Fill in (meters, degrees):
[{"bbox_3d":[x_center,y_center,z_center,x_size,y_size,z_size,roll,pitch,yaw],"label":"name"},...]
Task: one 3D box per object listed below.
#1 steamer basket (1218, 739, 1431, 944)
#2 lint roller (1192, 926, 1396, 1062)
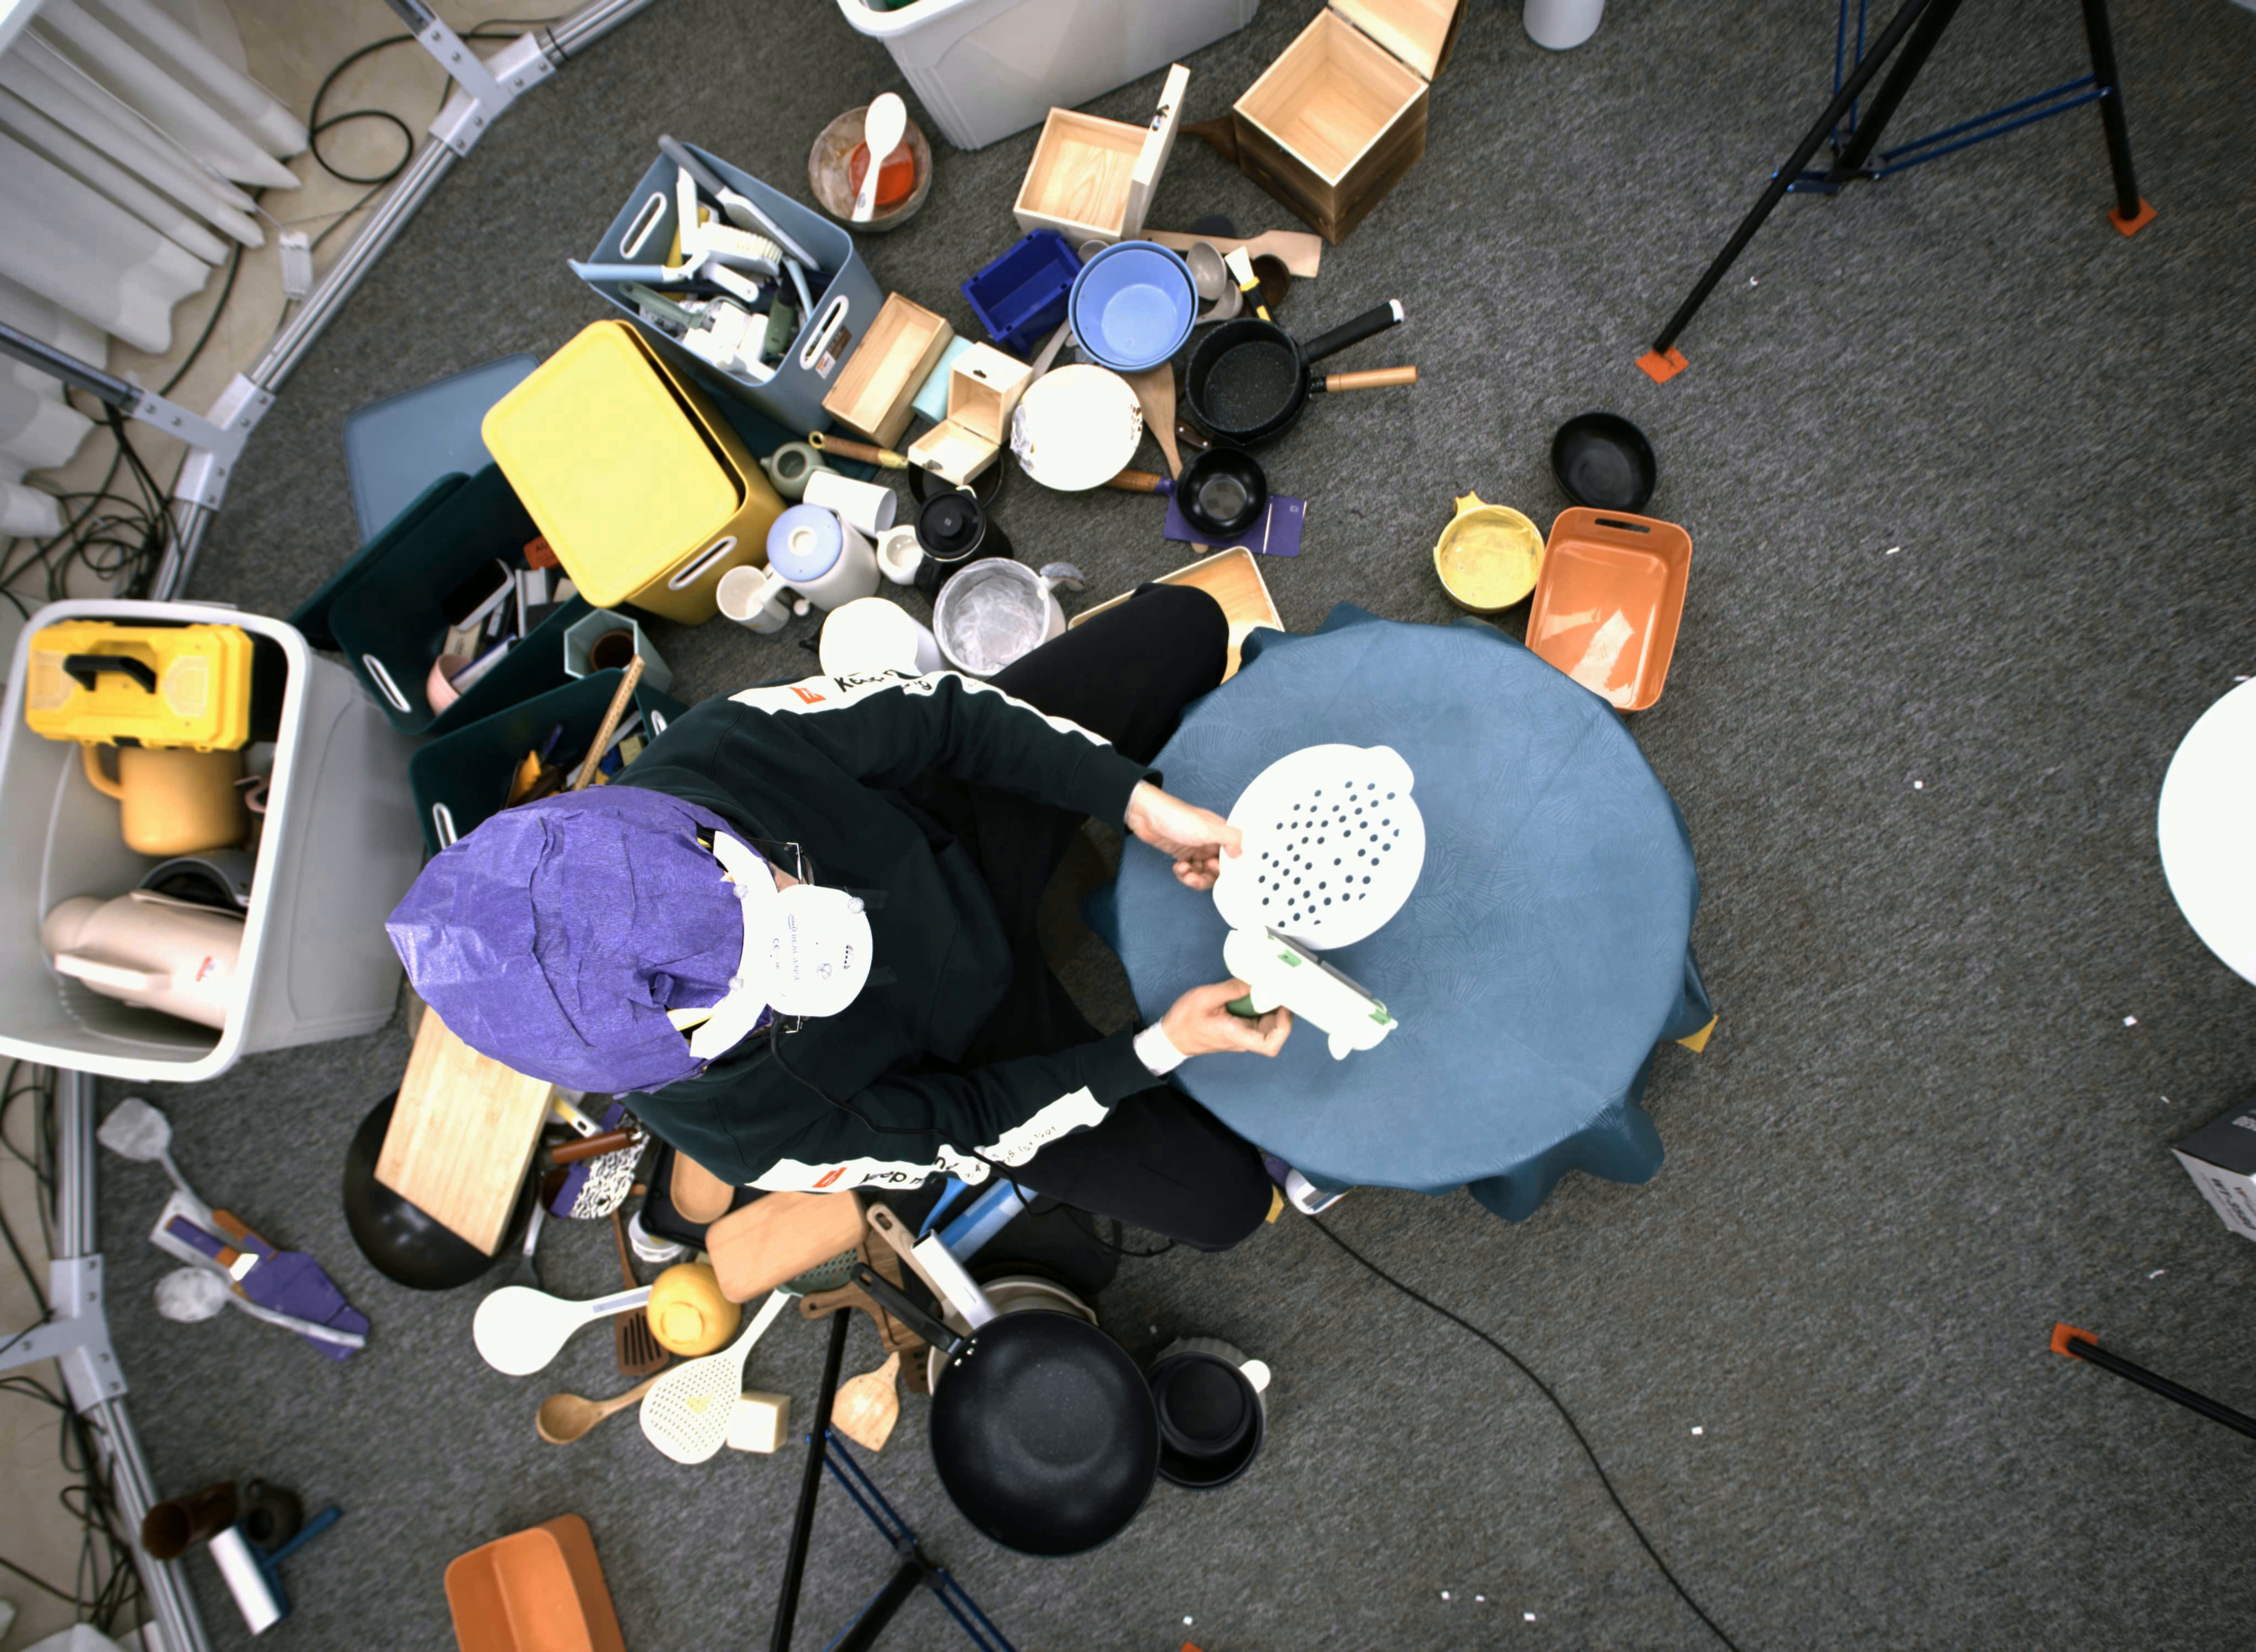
[{"bbox_3d":[0.196,0.016,1.342,0.233,0.070,0.198,-41,50,11],"label":"steamer basket"},{"bbox_3d":[0.132,0.182,1.348,0.186,0.200,0.080,-27,44,37],"label":"lint roller"}]
